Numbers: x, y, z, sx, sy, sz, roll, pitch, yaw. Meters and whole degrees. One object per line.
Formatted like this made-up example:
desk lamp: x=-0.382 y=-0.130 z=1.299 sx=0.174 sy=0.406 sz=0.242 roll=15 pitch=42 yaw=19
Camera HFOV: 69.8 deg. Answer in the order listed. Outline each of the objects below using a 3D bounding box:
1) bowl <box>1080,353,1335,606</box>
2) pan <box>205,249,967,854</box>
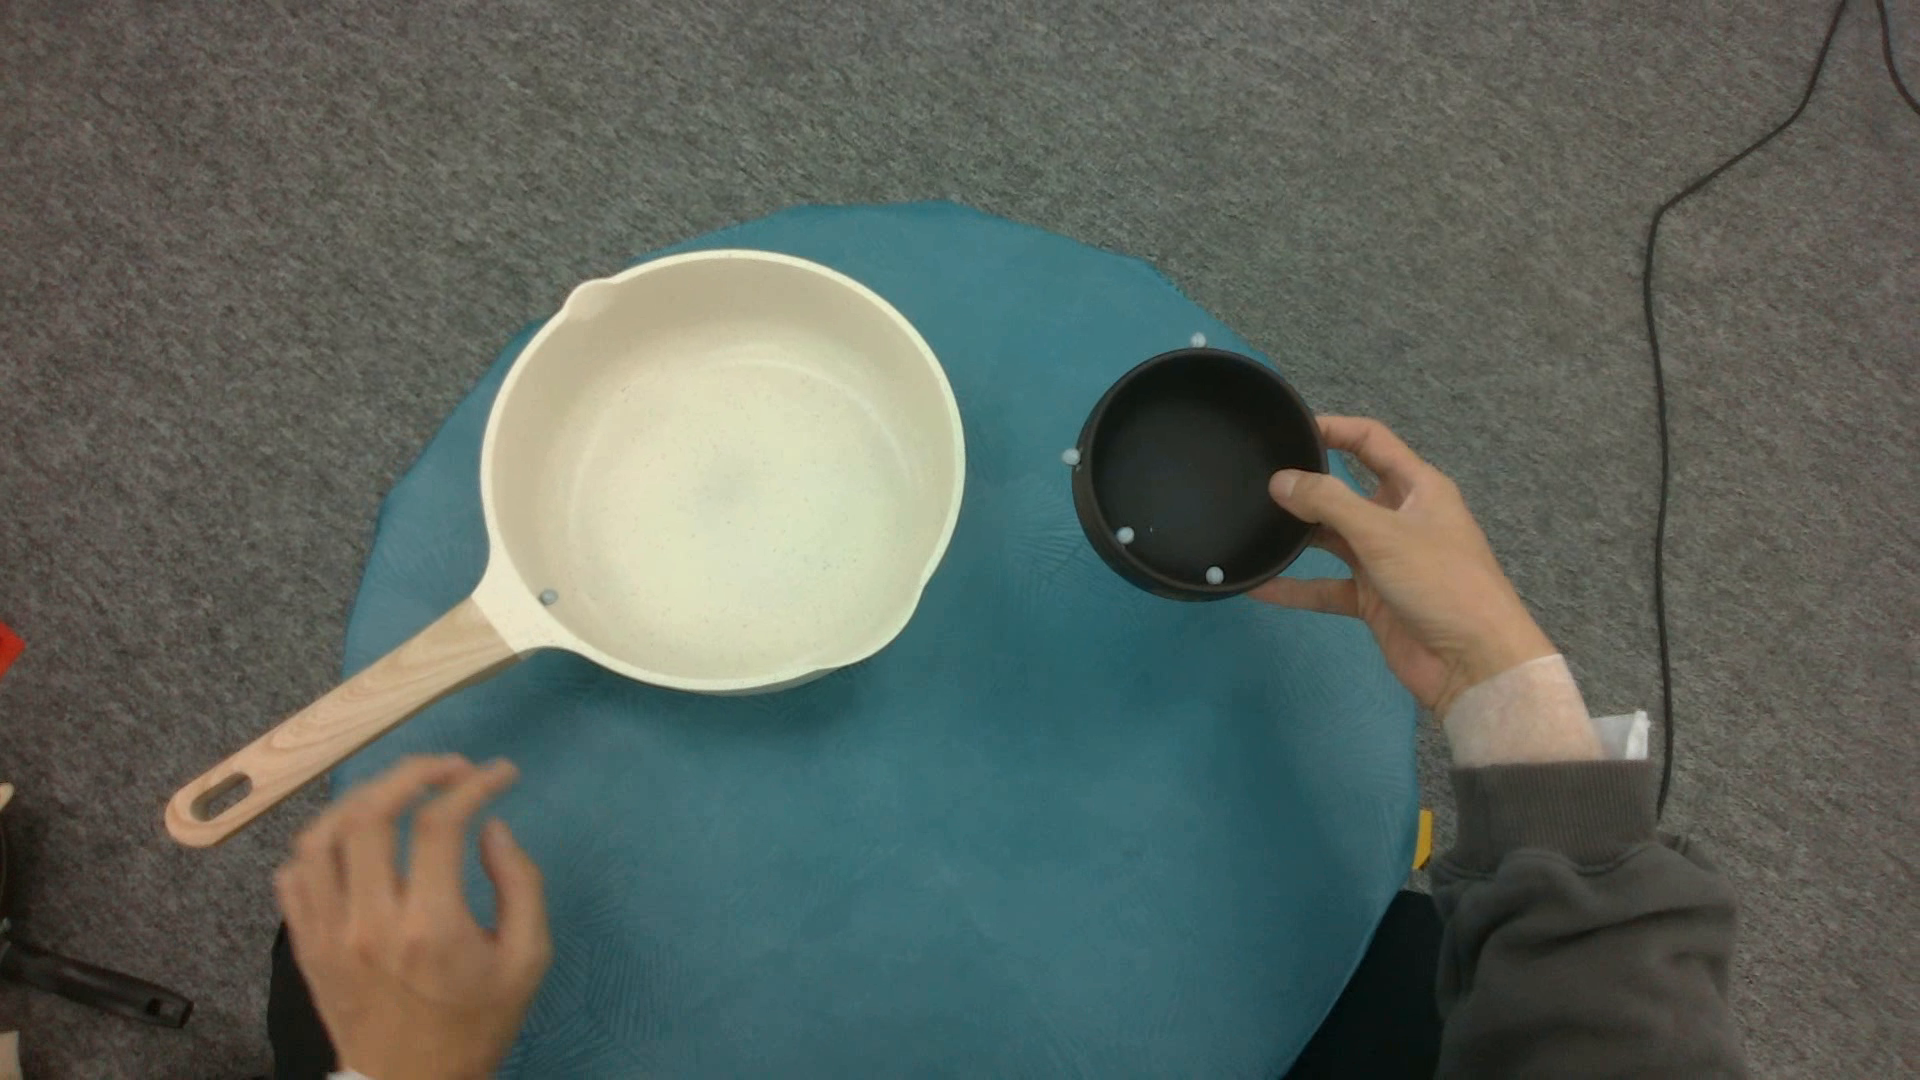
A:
bowl: x=0.114 y=-0.026 z=0.667 sx=0.118 sy=0.070 sz=0.118 roll=1 pitch=81 yaw=-6
pan: x=-0.192 y=0.021 z=0.747 sx=0.436 sy=0.101 sz=0.263 roll=-38 pitch=78 yaw=-13
